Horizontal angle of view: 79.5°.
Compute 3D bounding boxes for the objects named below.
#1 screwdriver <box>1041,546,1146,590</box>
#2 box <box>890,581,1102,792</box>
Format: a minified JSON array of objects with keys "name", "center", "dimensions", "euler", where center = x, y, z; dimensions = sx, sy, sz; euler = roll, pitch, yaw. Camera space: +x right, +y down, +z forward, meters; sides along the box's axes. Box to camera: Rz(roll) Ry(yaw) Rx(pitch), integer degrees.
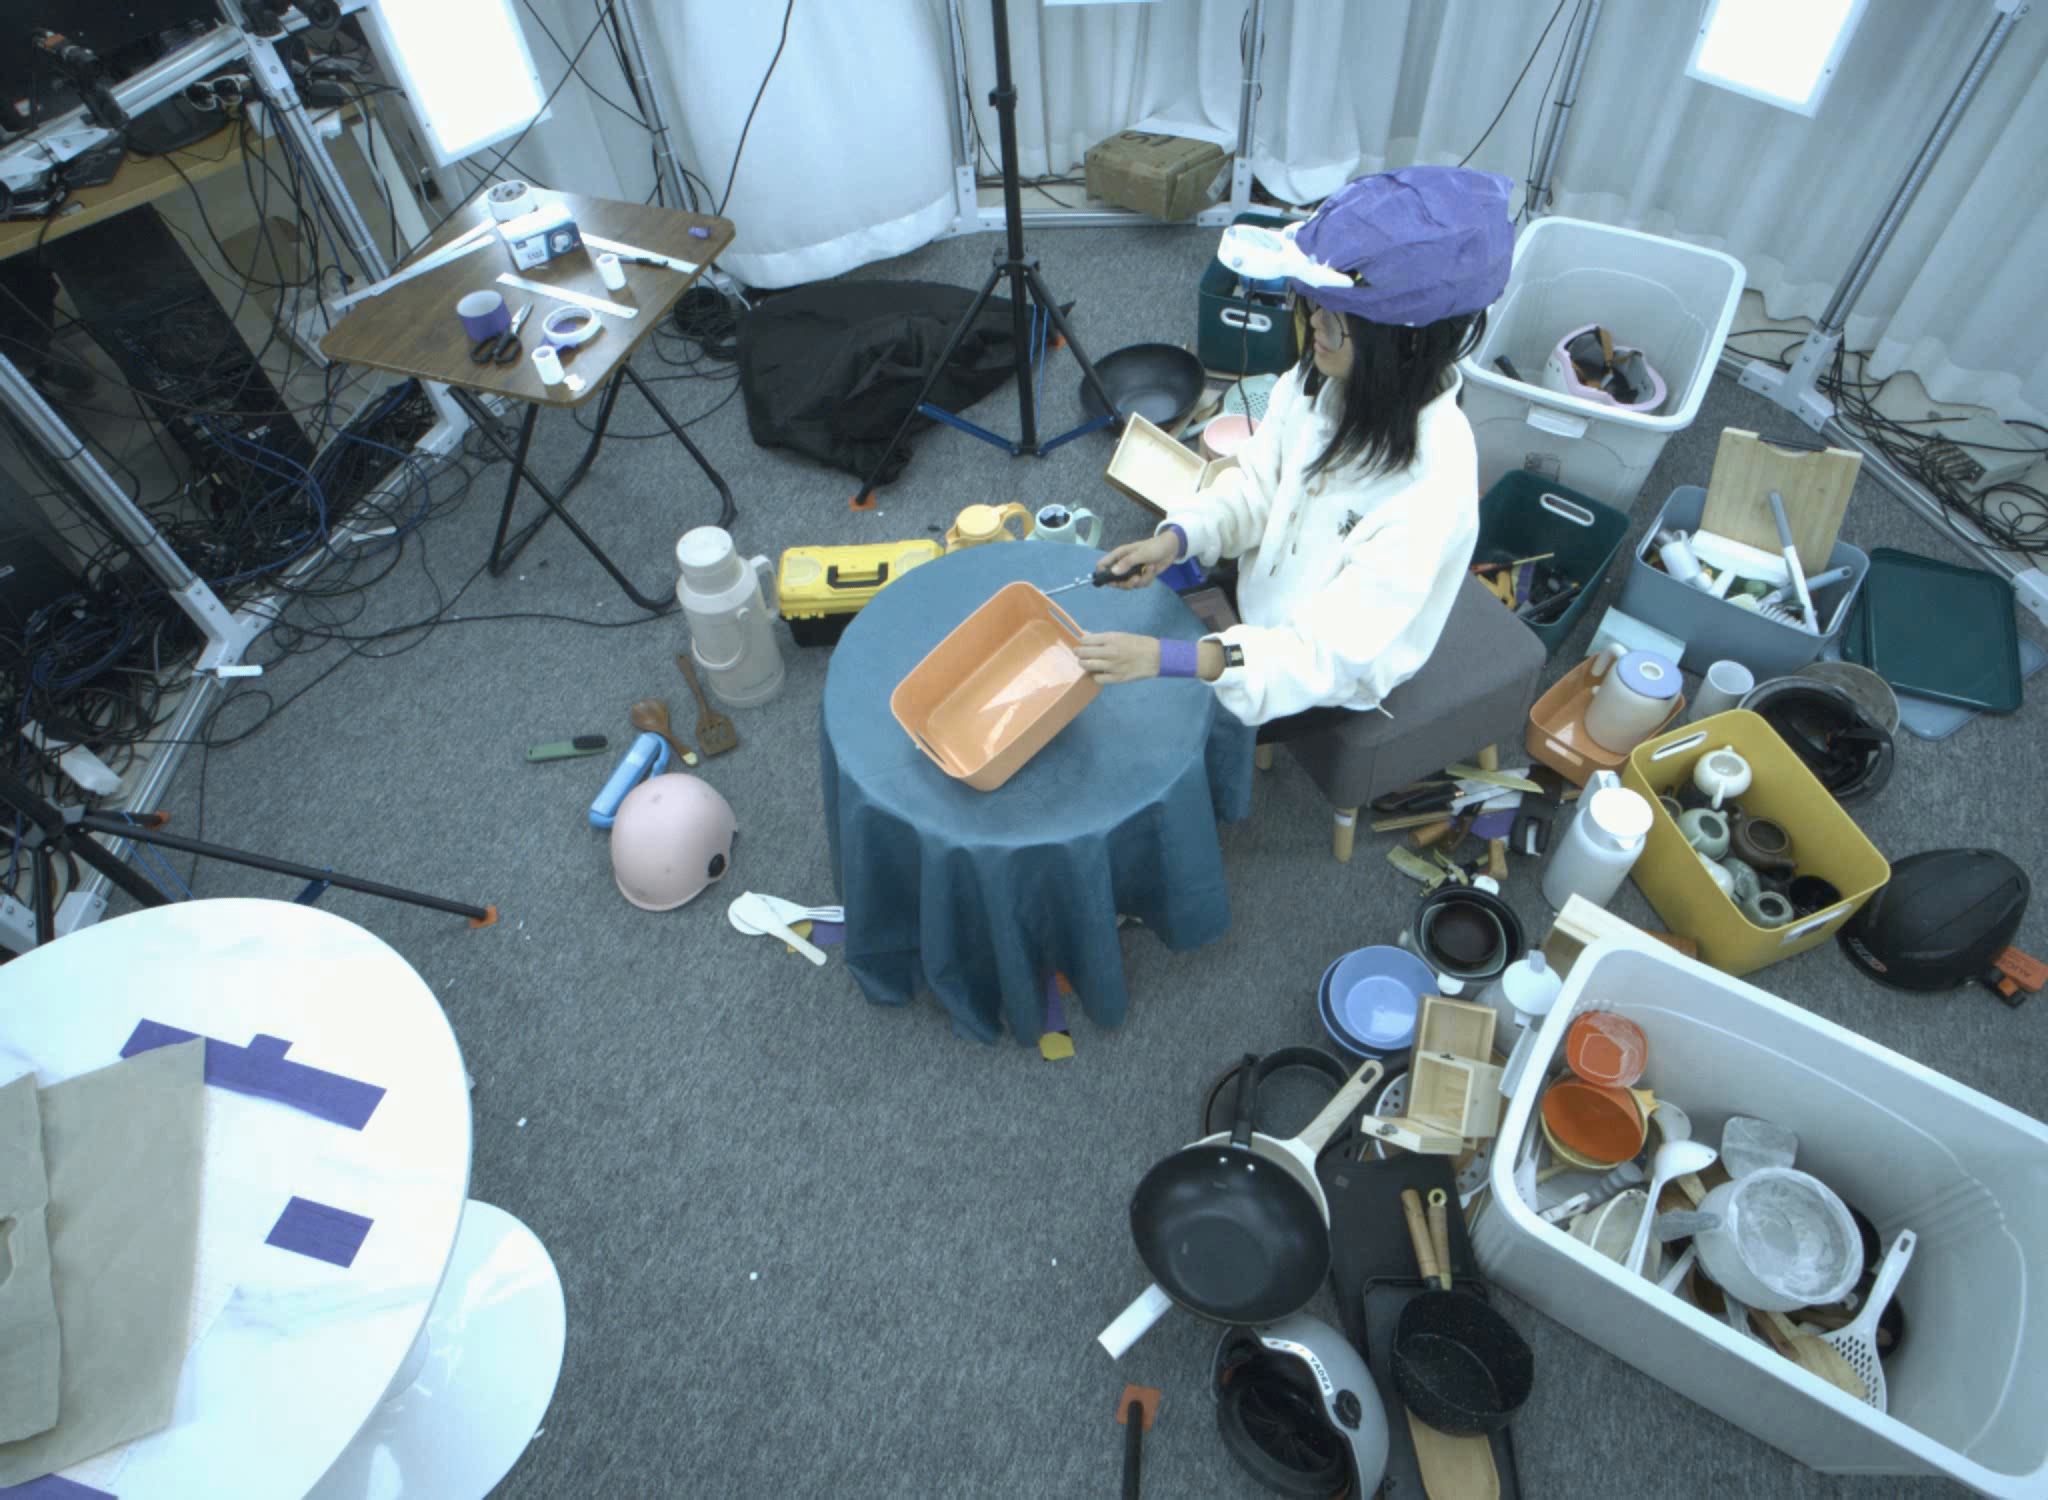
[{"name":"screwdriver","center":[0.105,-0.266,1.803],"dimensions":[0.201,0.031,0.031],"euler":[-24,55,-35]},{"name":"box","center":[-0.032,-0.082,1.735],"dimensions":[0.273,0.104,0.196],"euler":[-44,62,0]}]
